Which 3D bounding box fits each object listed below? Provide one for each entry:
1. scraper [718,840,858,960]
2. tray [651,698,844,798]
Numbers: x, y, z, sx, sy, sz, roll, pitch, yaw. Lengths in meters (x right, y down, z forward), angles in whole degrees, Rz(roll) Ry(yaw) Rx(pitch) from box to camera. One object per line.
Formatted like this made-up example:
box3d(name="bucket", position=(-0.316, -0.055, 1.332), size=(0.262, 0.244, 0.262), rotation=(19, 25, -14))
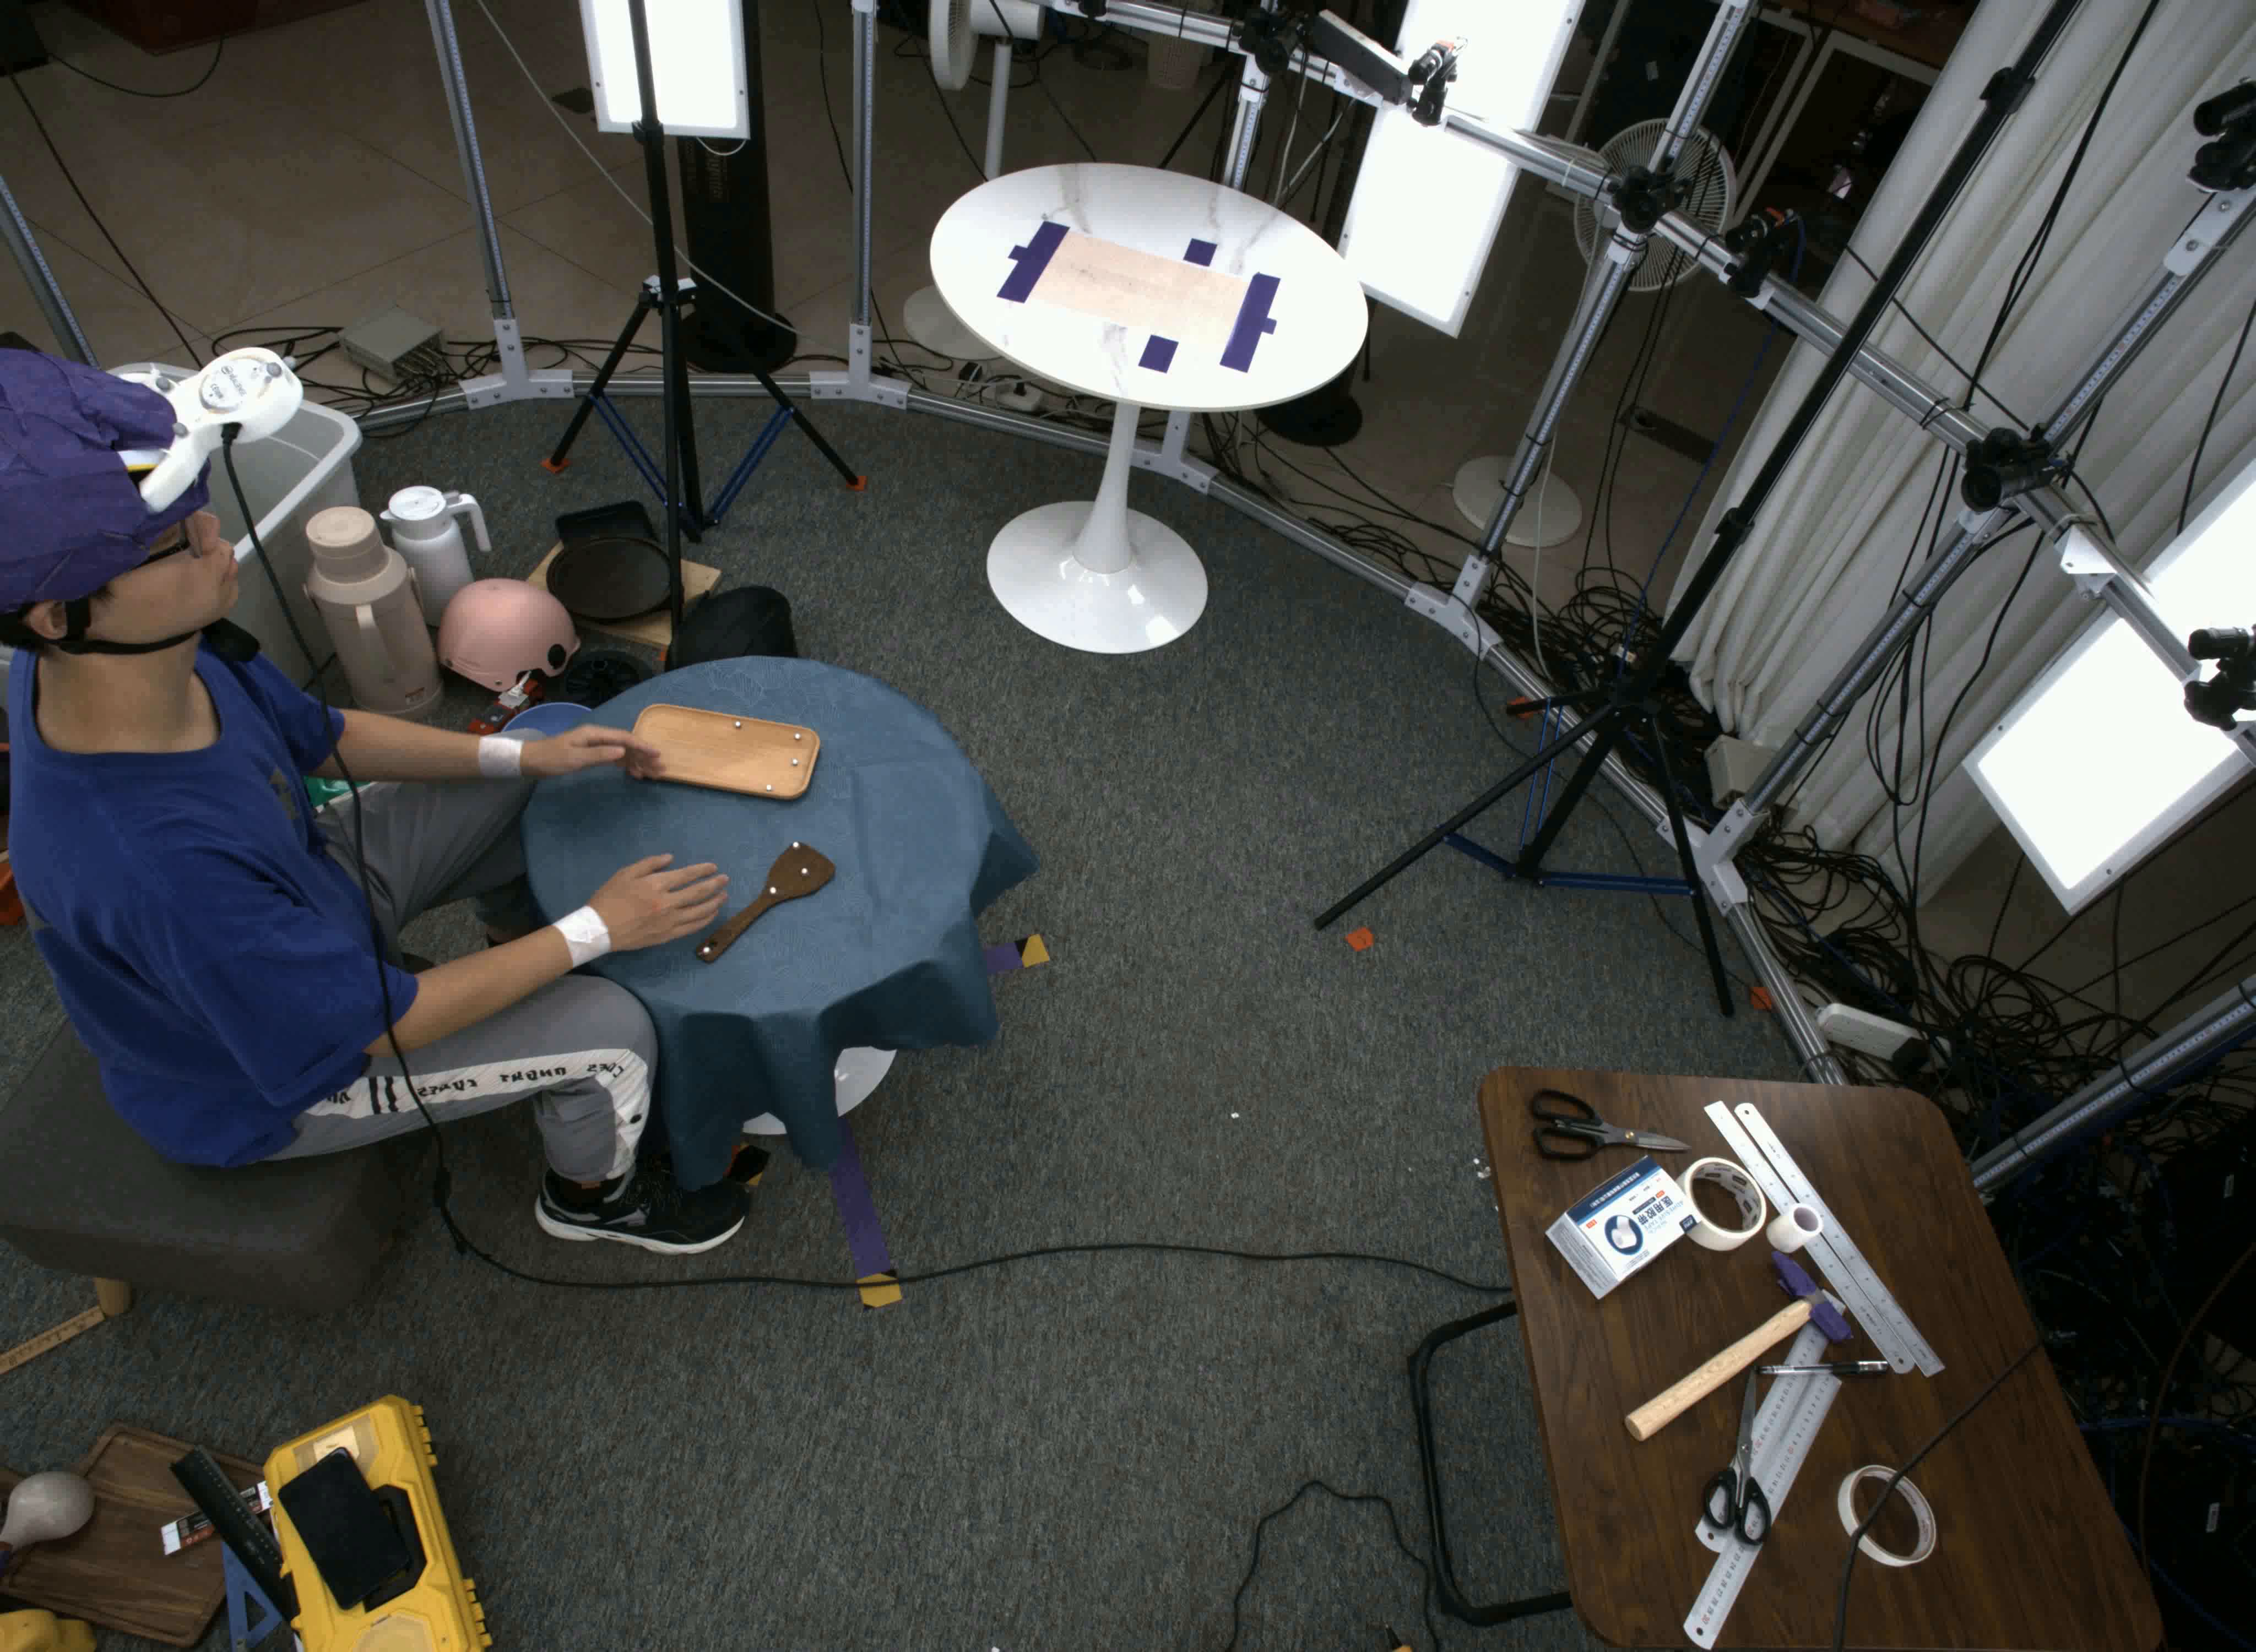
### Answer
box3d(name="scraper", position=(-0.439, 0.095, 1.654), size=(0.074, 0.011, 0.211), rotation=(35, 54, 14))
box3d(name="tray", position=(-0.523, -0.108, 1.778), size=(0.249, 0.023, 0.128), rotation=(11, 50, -5))
